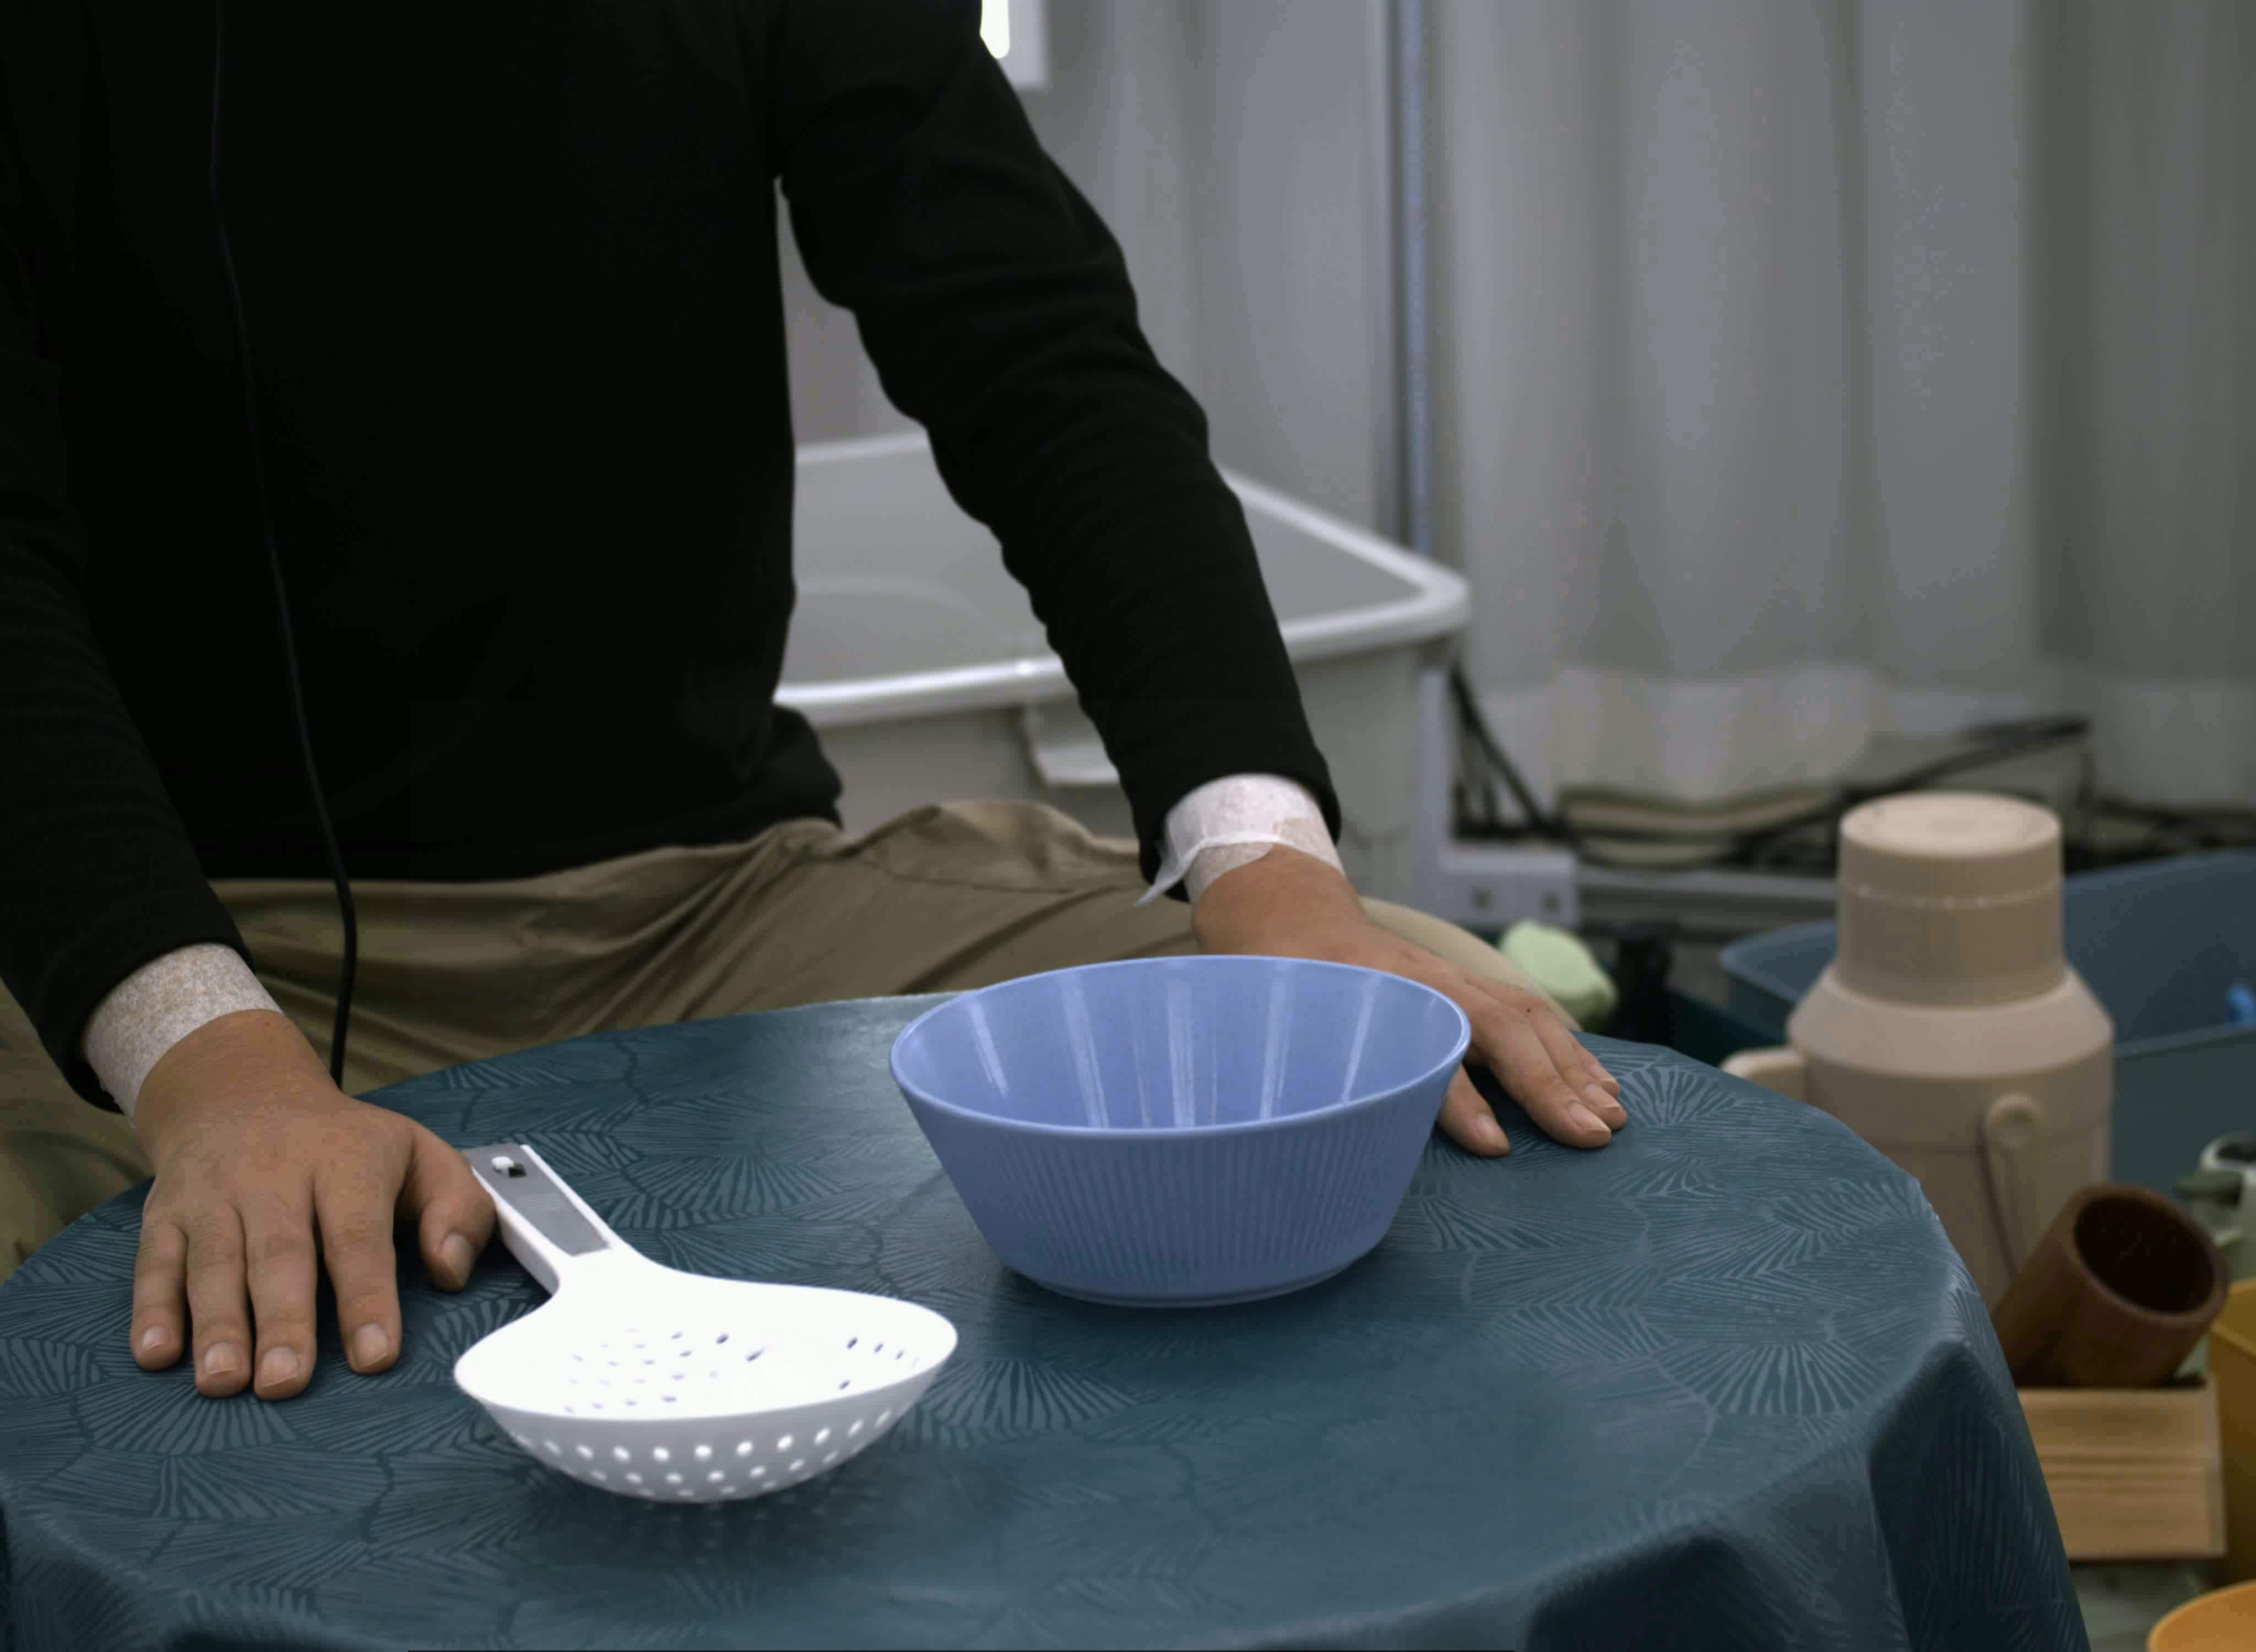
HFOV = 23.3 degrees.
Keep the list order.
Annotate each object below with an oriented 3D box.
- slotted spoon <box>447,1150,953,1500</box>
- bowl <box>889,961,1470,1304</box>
[{"bbox_3d":[-0.150,0.134,1.581,0.135,0.045,0.352,-7,14,-18],"label":"slotted spoon"},{"bbox_3d":[0.017,0.095,1.651,0.175,0.070,0.177,-4,14,1],"label":"bowl"}]
